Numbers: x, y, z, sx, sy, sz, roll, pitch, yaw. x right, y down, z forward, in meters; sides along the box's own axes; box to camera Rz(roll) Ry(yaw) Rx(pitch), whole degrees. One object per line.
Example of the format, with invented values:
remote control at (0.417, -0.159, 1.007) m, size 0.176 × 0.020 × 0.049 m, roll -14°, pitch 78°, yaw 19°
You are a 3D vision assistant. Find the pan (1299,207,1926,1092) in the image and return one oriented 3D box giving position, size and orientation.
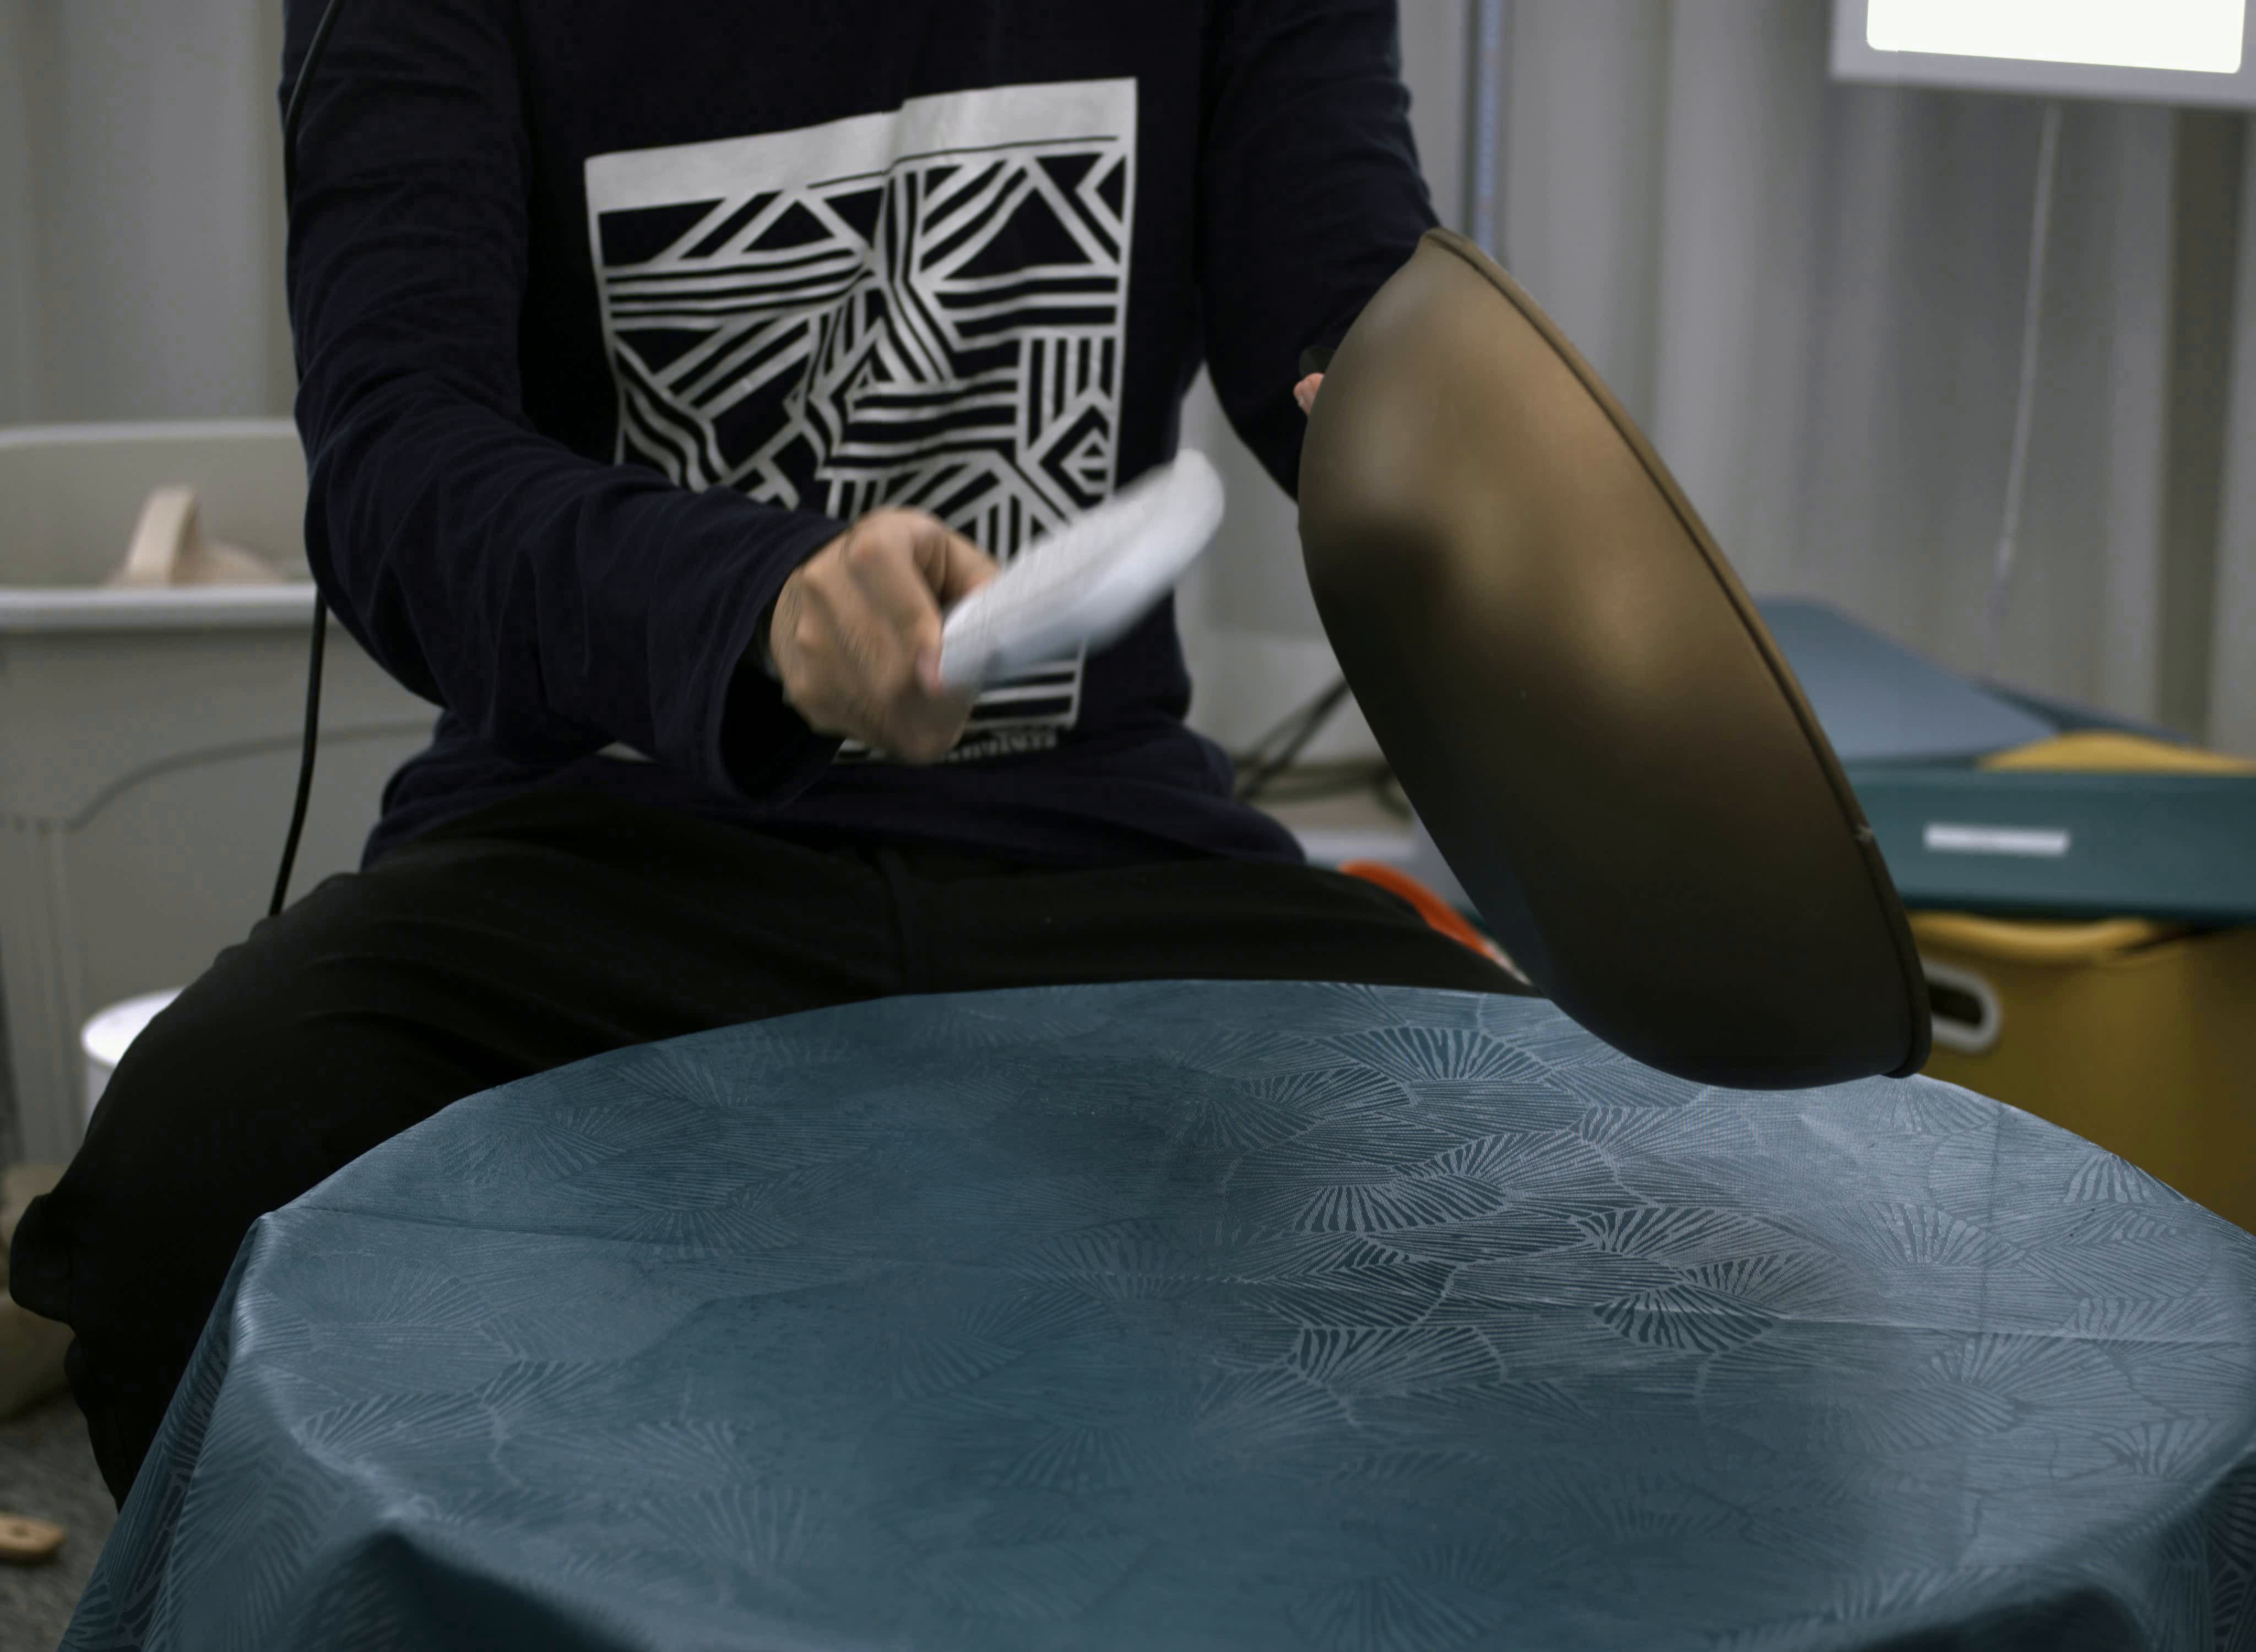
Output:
pan at (0.100, -0.063, 1.598) m, size 0.087 × 0.291 × 0.458 m, roll -29°, pitch 24°, yaw -5°

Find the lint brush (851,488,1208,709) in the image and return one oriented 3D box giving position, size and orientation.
lint brush at (-0.036, -0.060, 1.547) m, size 0.021 × 0.060 × 0.307 m, roll 40°, pitch -13°, yaw -11°
